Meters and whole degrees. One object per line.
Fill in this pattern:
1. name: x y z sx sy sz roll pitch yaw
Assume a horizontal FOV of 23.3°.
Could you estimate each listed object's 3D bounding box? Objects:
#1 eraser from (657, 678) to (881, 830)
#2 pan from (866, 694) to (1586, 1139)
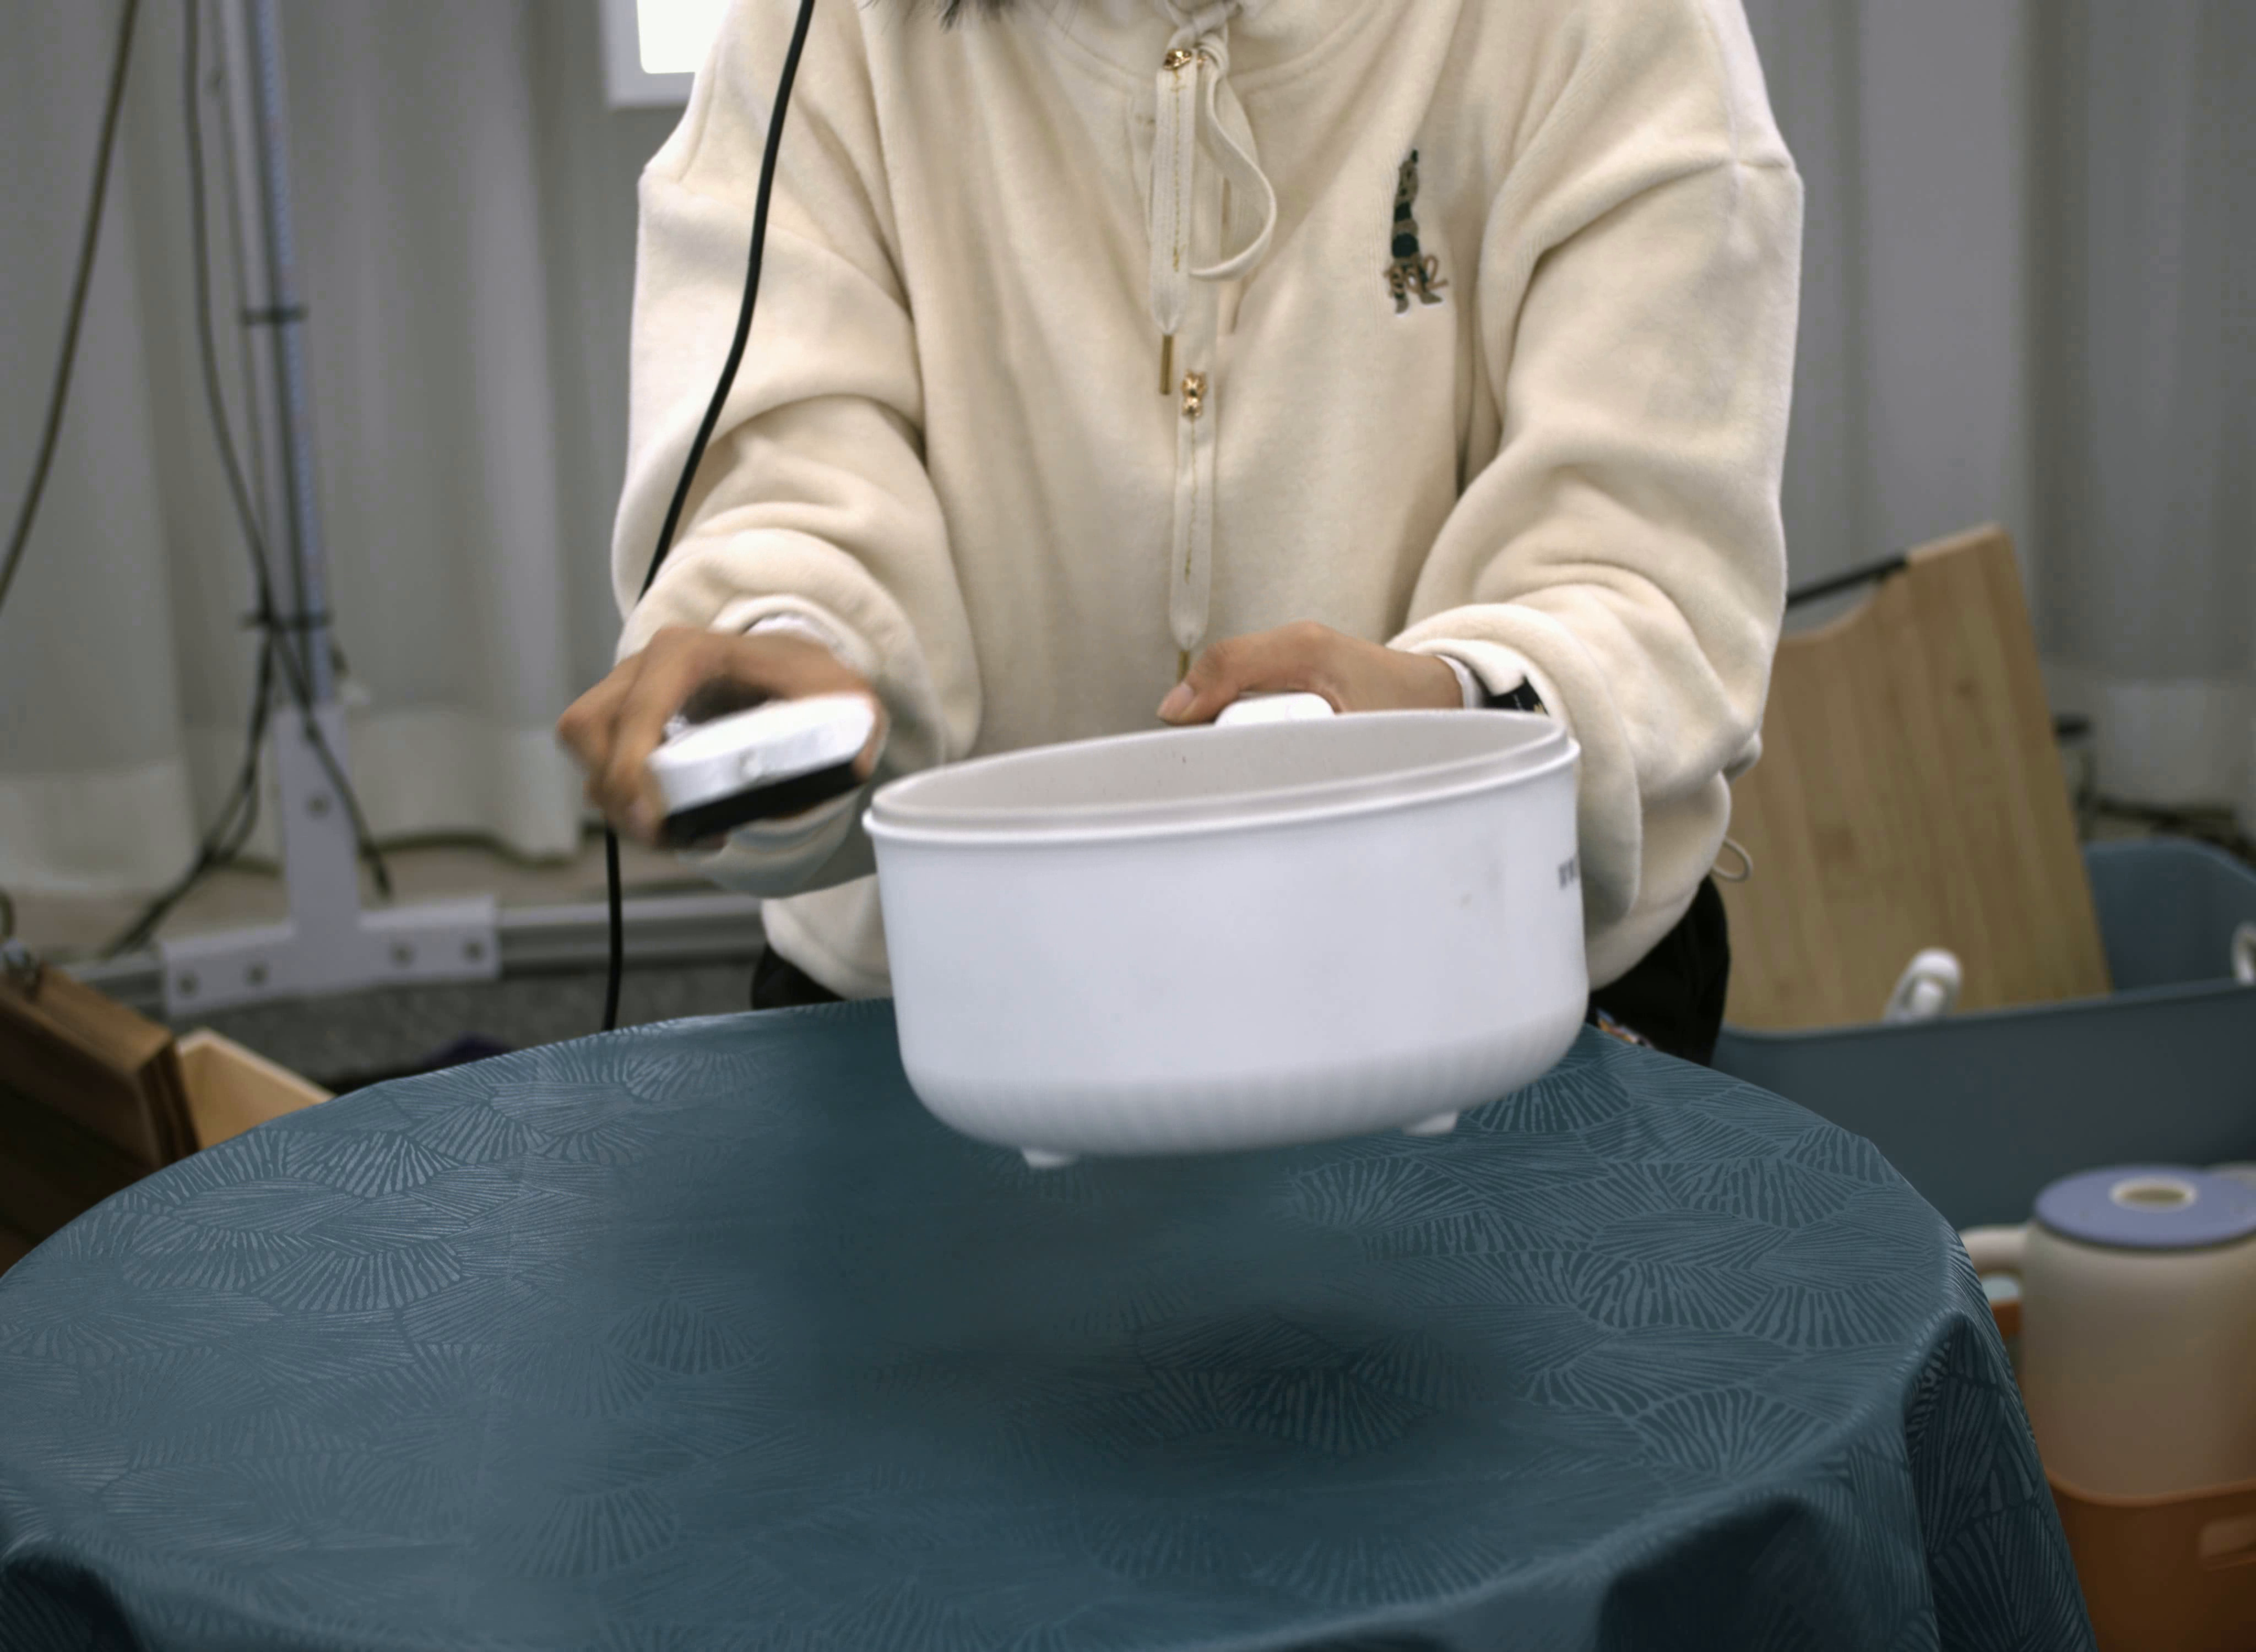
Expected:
1. eraser: -0.108 -0.022 1.667 0.063 0.034 0.131 -14 0 -8
2. pan: 0.037 0.020 1.603 0.201 0.102 0.355 -4 4 6
